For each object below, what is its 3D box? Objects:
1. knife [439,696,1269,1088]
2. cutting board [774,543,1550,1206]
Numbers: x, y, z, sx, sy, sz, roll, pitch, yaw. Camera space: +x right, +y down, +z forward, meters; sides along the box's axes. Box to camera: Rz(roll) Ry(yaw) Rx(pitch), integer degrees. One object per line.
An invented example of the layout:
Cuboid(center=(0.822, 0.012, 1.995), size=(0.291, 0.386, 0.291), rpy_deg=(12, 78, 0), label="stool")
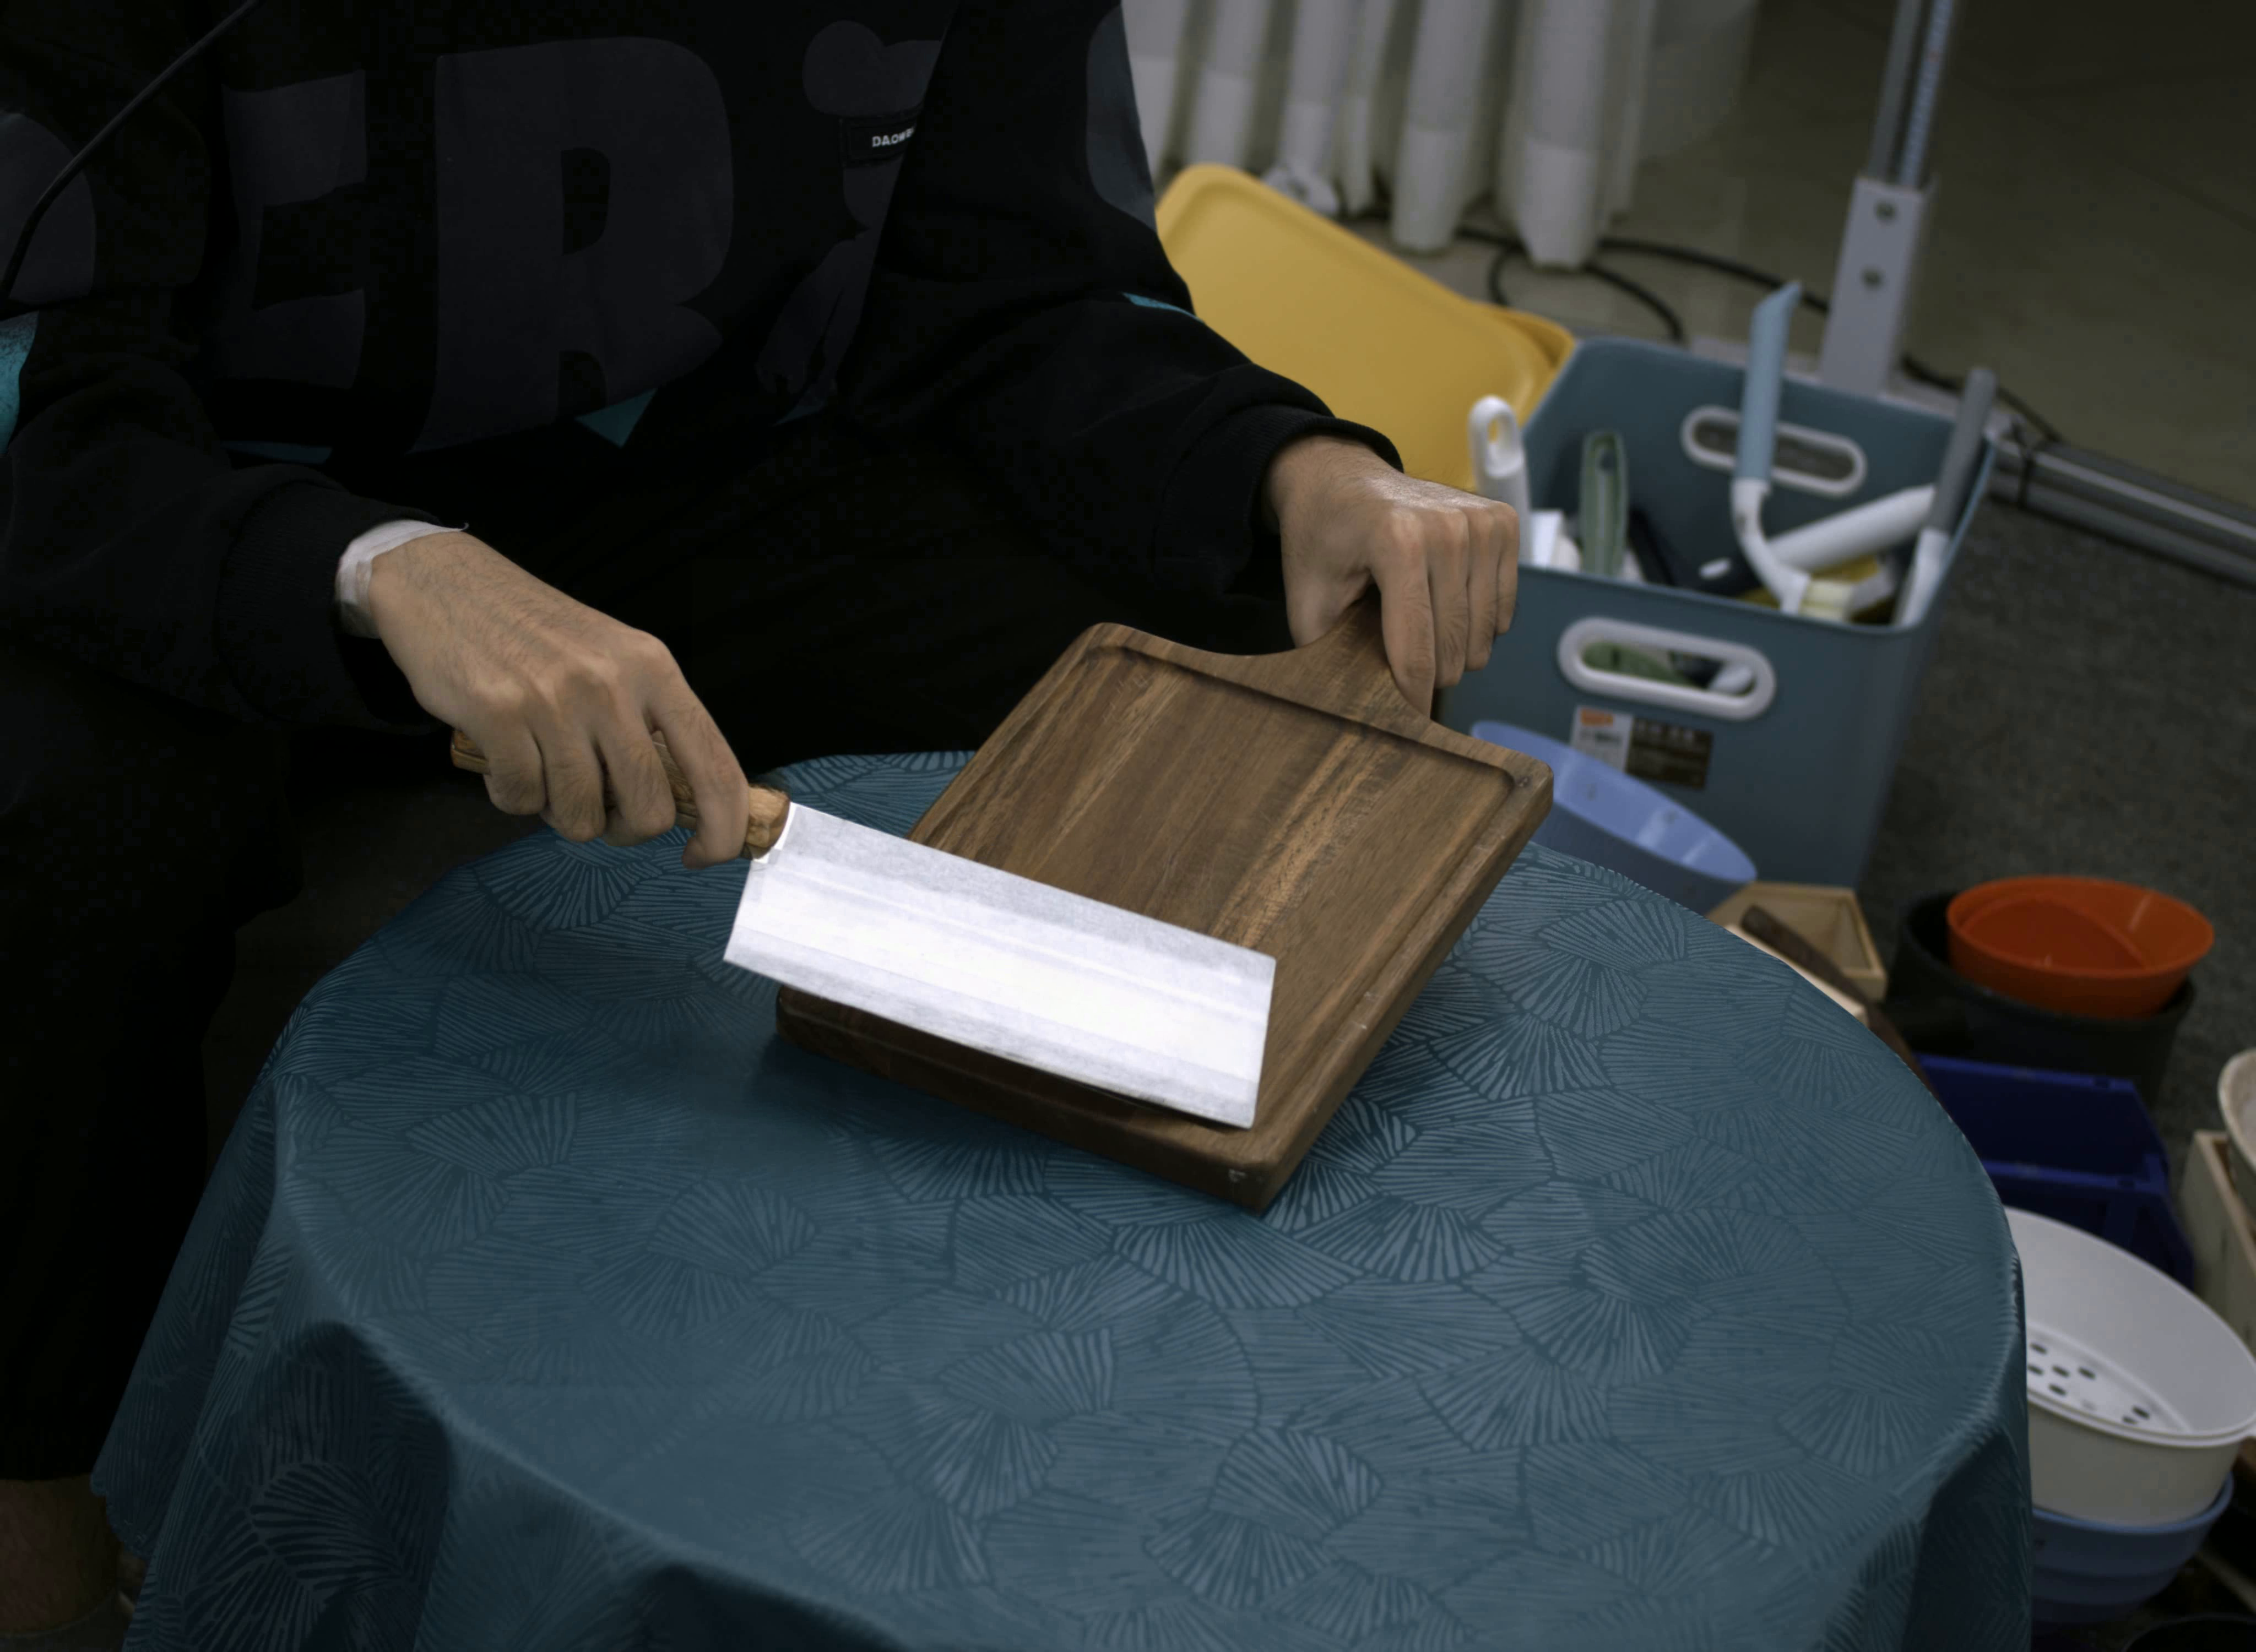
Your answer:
Cuboid(center=(-0.096, 0.027, 1.832), size=(0.304, 0.021, 0.093), rpy_deg=(17, 40, -5), label="knife")
Cuboid(center=(0.038, -0.002, 1.947), size=(0.202, 0.023, 0.353), rpy_deg=(18, 42, 21), label="cutting board")
